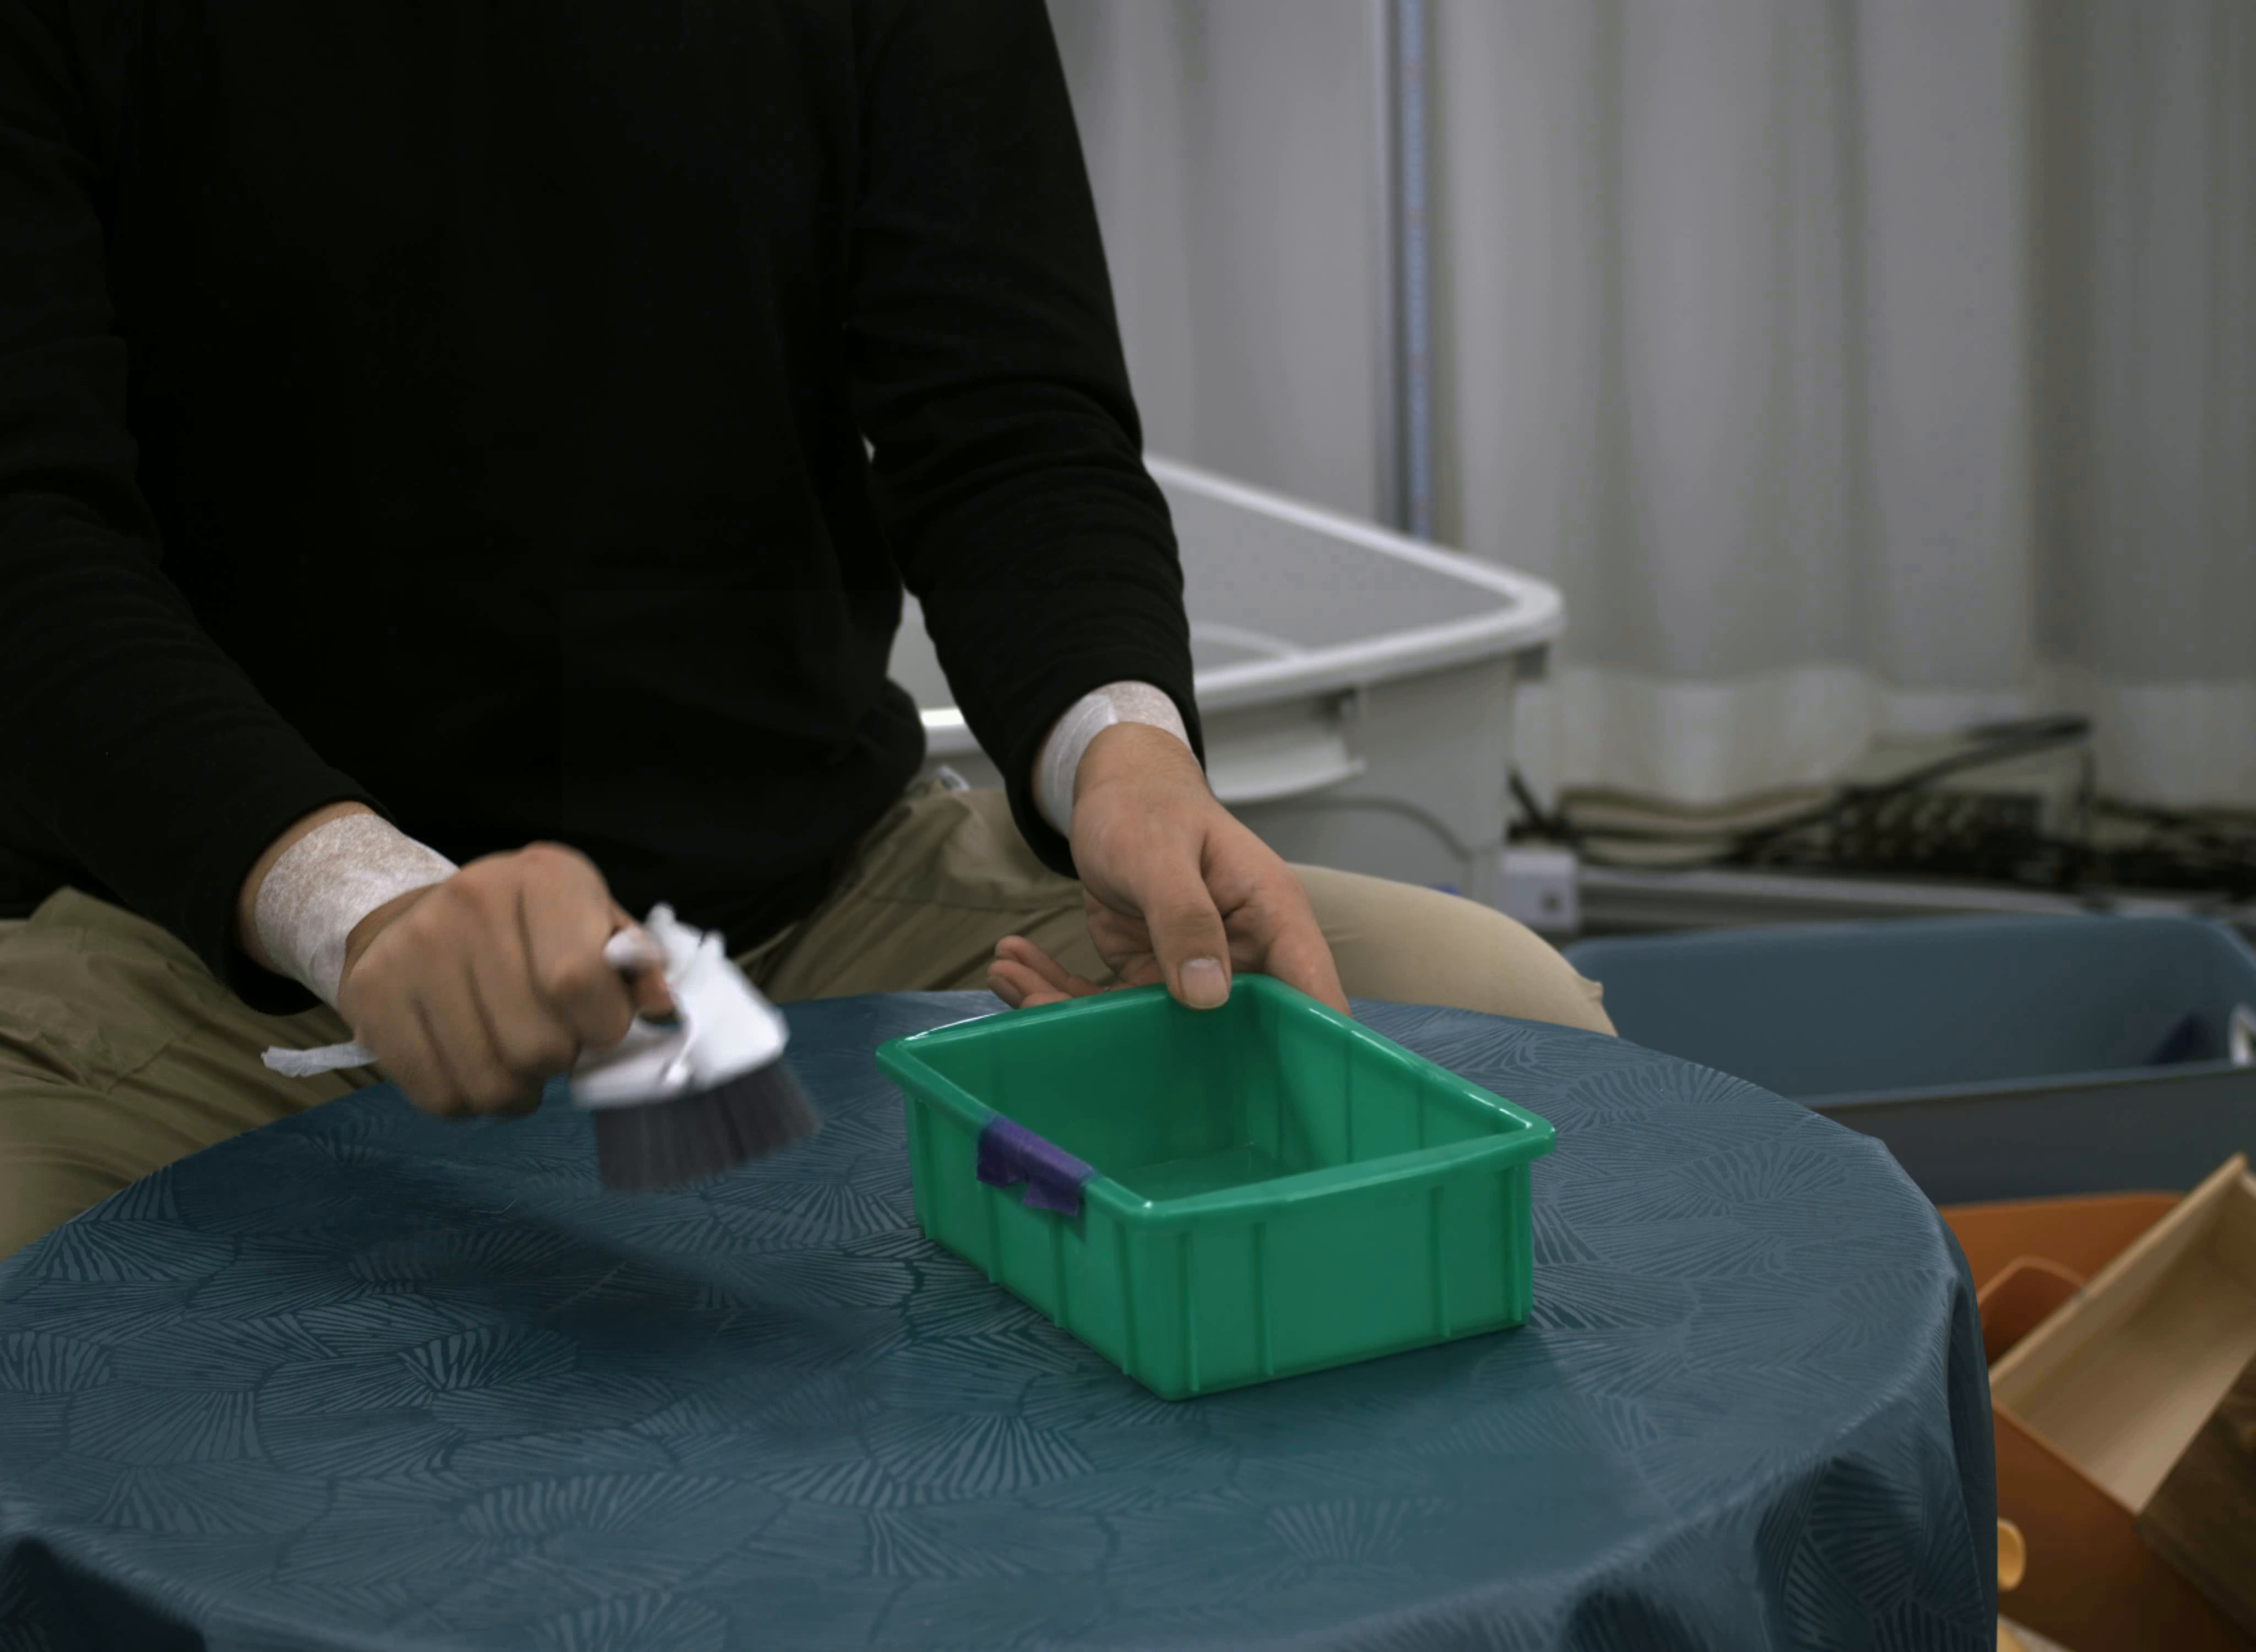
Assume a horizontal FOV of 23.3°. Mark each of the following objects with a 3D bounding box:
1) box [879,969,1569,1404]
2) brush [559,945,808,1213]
[{"bbox_3d":[0.027,0.105,1.623,0.138,0.065,0.212,-12,18,-25],"label":"box"},{"bbox_3d":[-0.137,0.070,1.597,0.050,0.072,0.099,-23,8,-23],"label":"brush"}]
